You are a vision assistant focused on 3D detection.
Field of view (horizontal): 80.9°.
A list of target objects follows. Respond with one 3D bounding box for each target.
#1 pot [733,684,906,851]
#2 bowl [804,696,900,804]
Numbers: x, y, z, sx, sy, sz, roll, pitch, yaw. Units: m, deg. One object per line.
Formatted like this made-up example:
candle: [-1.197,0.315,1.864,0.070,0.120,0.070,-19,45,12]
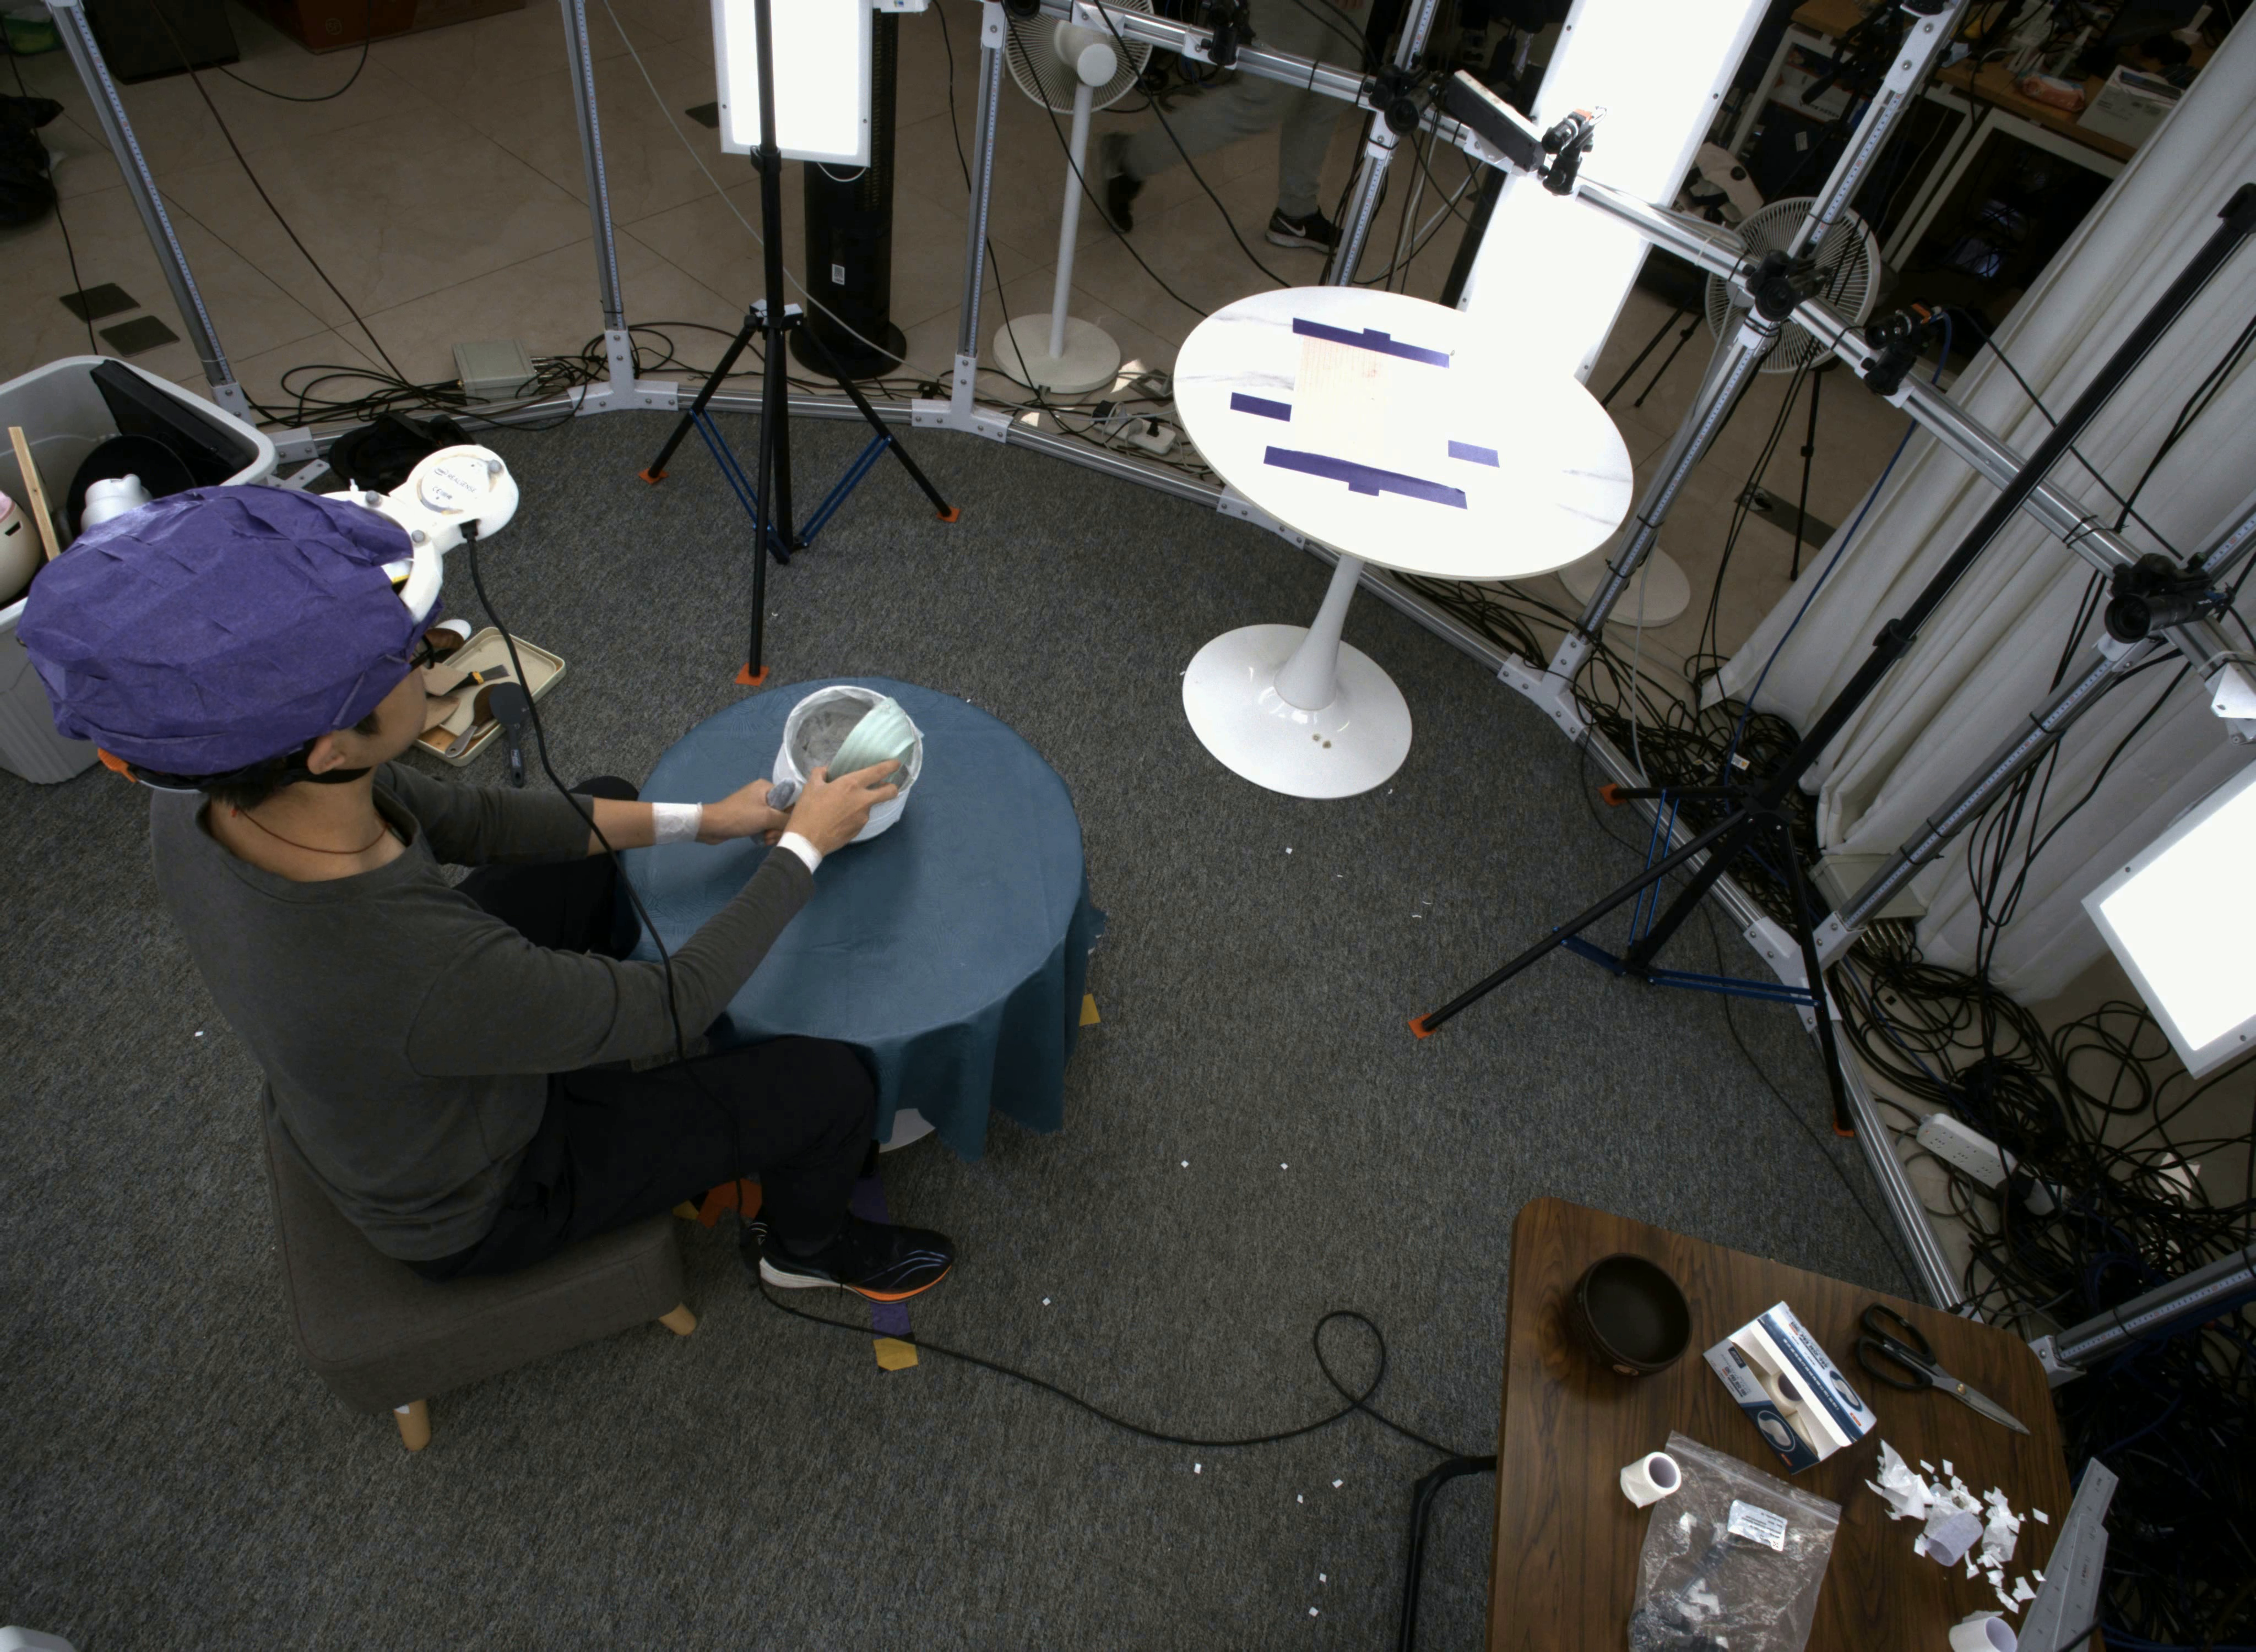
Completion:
pot: [-0.407,-0.059,1.680,0.178,0.137,0.234,47,56,5]
bowl: [-0.337,-0.085,1.621,0.058,0.152,0.150,33,52,0]
